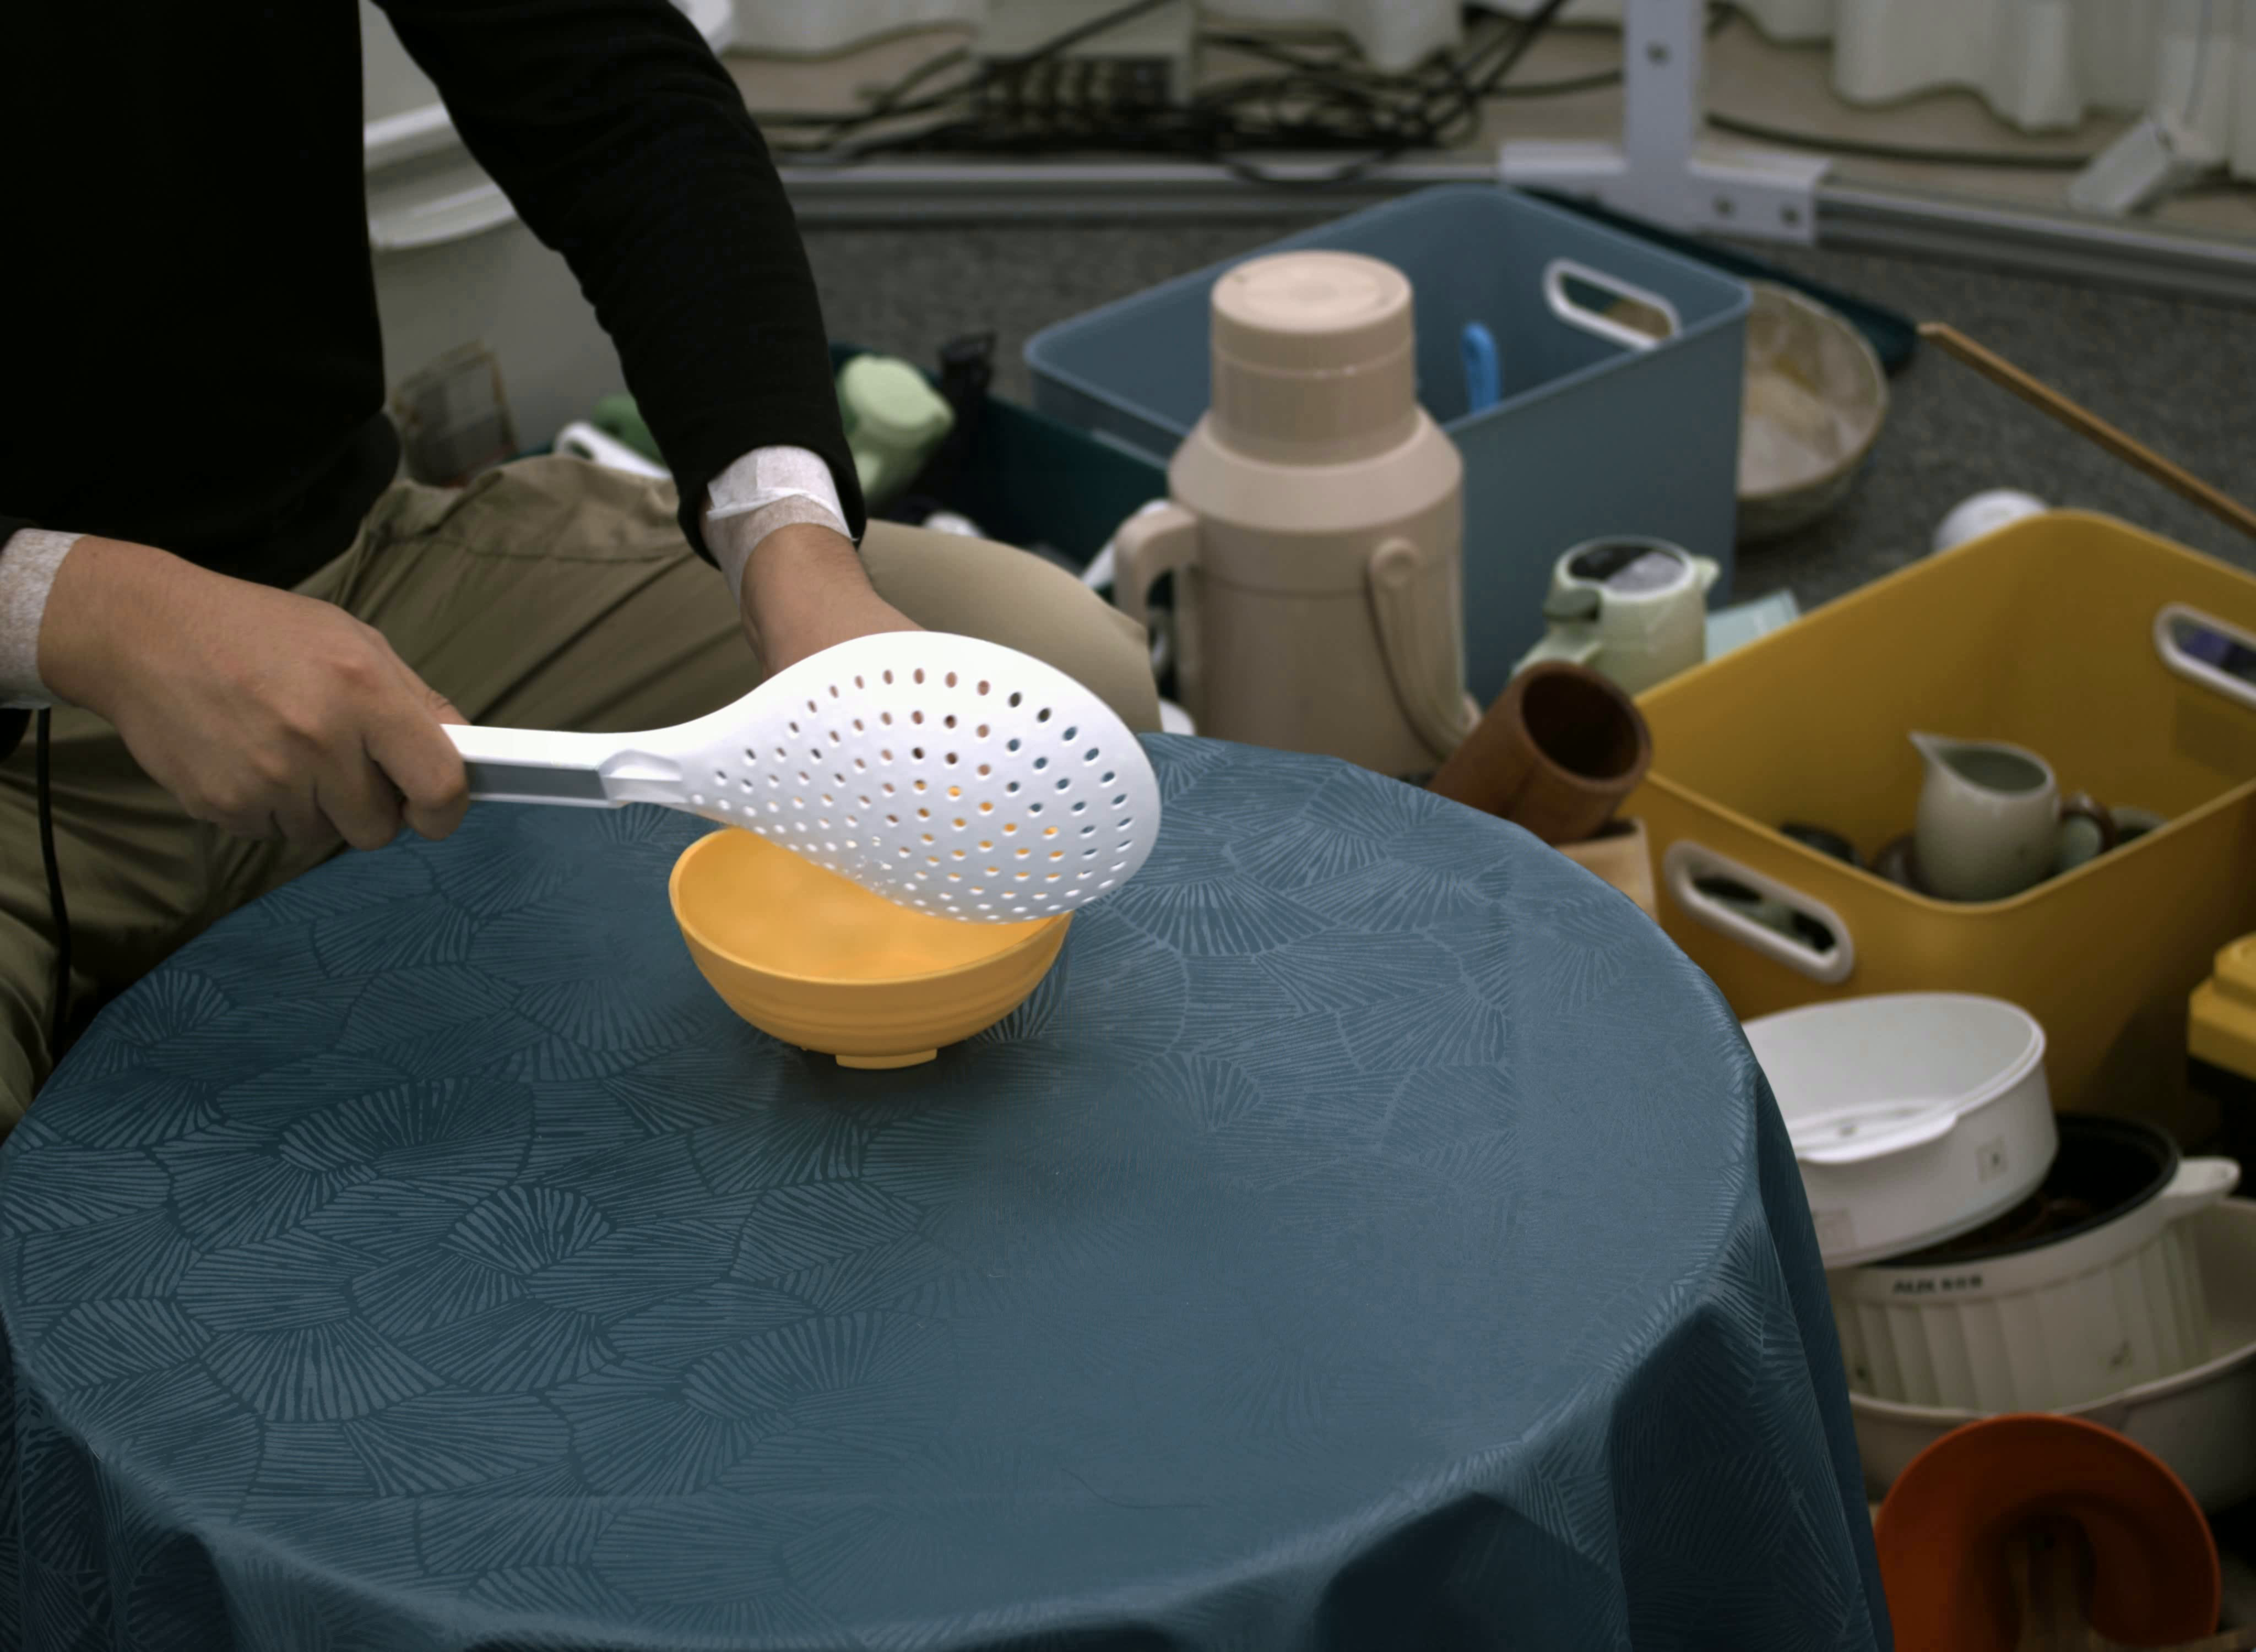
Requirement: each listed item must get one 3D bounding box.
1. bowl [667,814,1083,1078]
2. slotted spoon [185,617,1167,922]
[{"bbox_3d":[-0.088,0.046,1.958,0.144,0.059,0.147,1,26,0],"label":"bowl"},{"bbox_3d":[-0.158,-0.020,1.905,0.347,0.134,0.046,7,46,19],"label":"slotted spoon"}]
